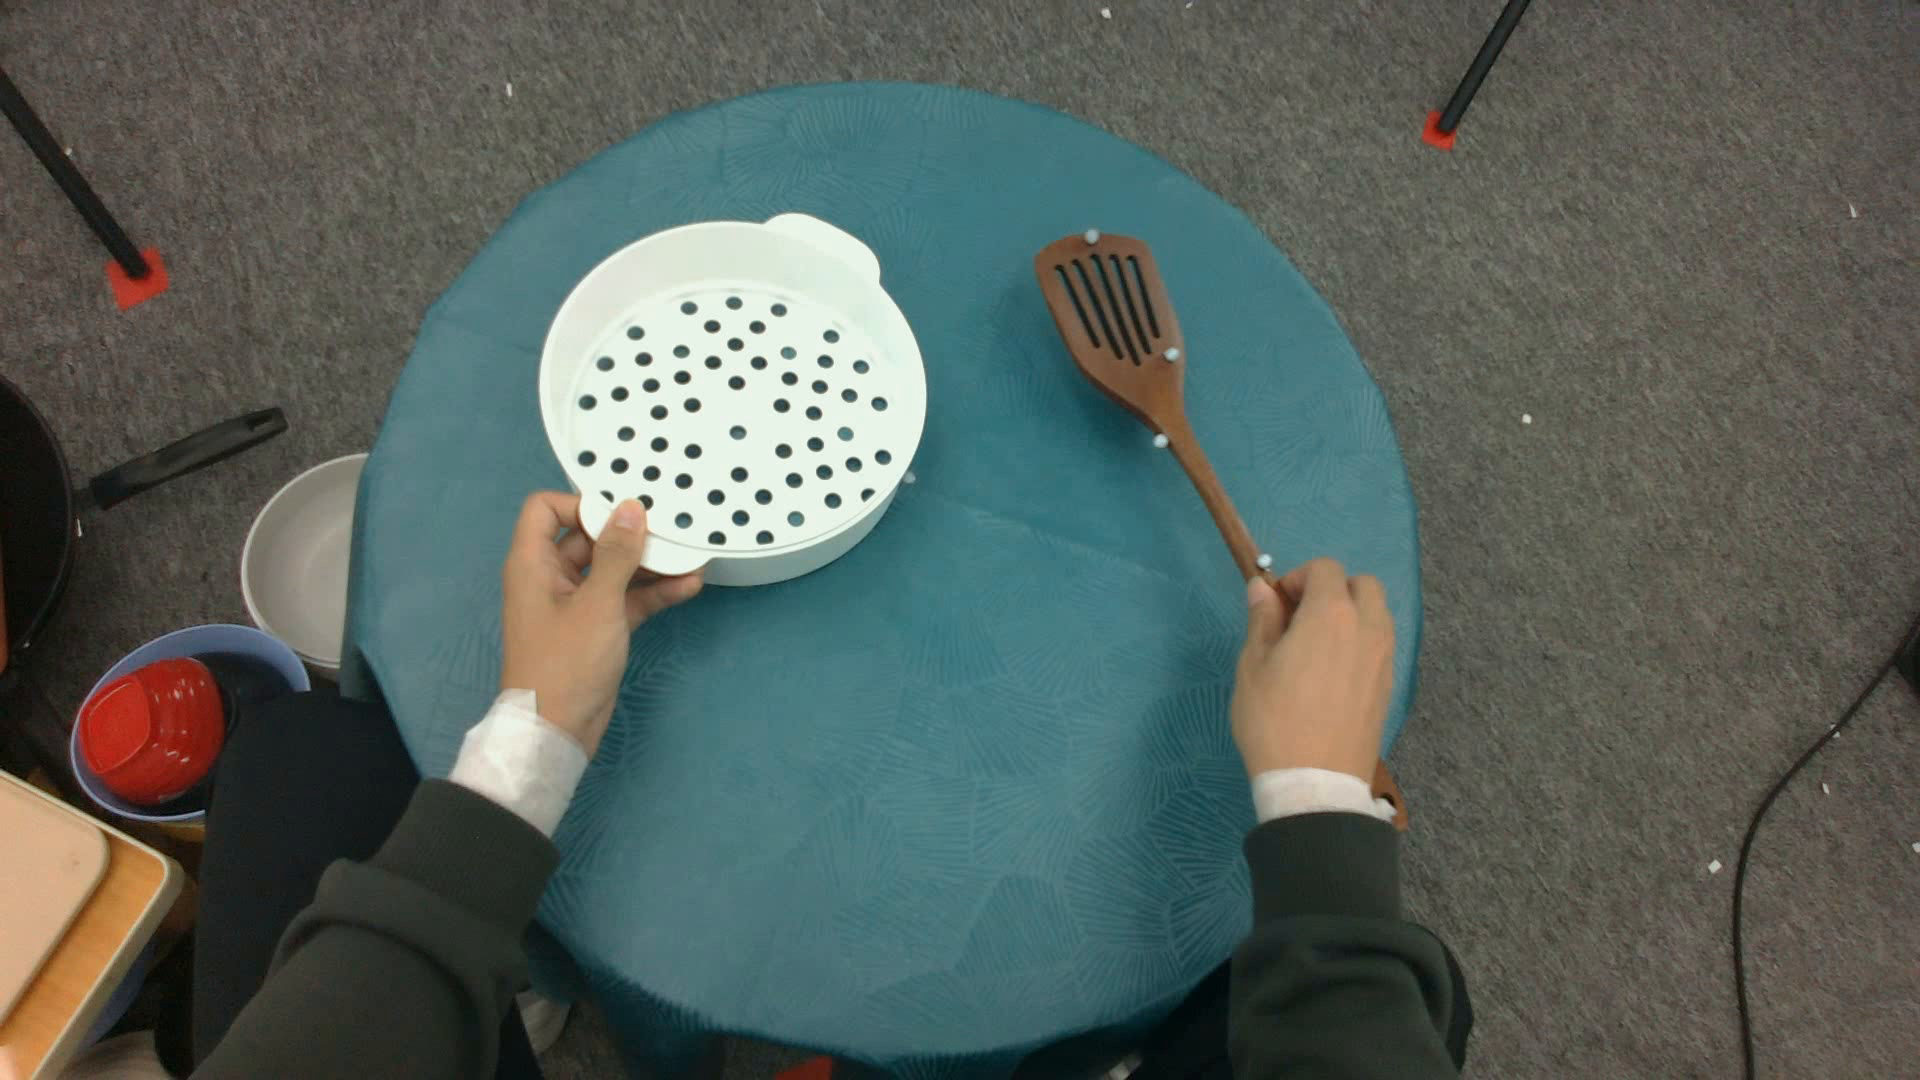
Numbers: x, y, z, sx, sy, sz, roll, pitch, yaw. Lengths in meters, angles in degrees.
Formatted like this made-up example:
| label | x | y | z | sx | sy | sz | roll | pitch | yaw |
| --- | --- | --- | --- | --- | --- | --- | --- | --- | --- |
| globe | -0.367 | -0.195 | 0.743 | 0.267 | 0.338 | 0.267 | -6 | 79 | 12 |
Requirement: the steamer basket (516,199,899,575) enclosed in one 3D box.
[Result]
| label | x | y | z | sx | sy | sz | roll | pitch | yaw |
| --- | --- | --- | --- | --- | --- | --- | --- | --- | --- |
| steamer basket | -0.136 | -0.079 | 0.760 | 0.202 | 0.069 | 0.231 | 24 | 69 | 3 |

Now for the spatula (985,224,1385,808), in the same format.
| label | x | y | z | sx | sy | sz | roll | pitch | yaw |
| --- | --- | --- | --- | --- | --- | --- | --- | --- | --- |
| spatula | 0.127 | -0.026 | 0.765 | 0.086 | 0.023 | 0.386 | -16 | 65 | -28 |
